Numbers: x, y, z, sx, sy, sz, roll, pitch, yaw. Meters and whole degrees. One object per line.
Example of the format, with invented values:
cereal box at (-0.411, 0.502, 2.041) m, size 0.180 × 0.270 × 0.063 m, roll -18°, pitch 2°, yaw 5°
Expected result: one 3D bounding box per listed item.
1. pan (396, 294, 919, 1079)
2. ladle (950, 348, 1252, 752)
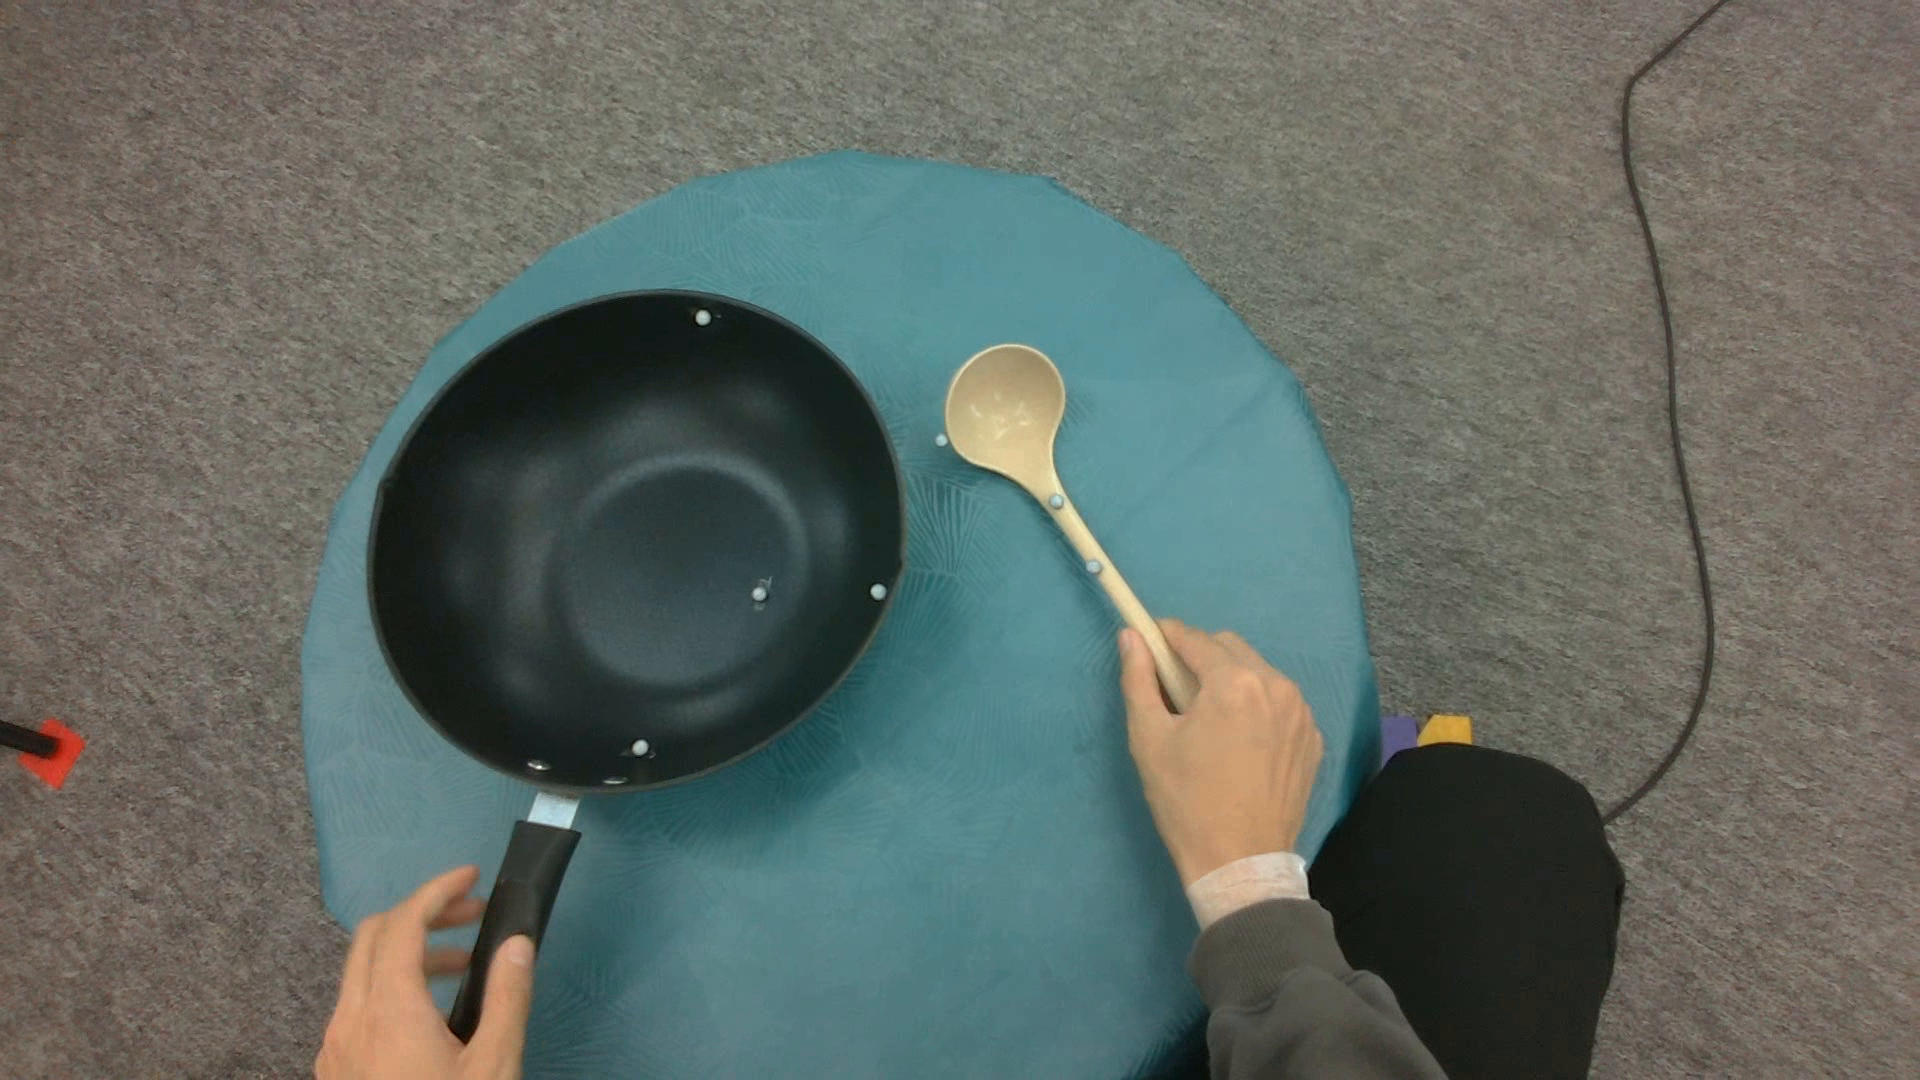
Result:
pan at (-0.178, 0.091, 0.735) m, size 0.288 × 0.086 × 0.464 m, roll 10°, pitch 72°, yaw 9°
ladle at (0.079, -0.001, 0.738) m, size 0.072 × 0.072 × 0.255 m, roll -29°, pitch 62°, yaw -12°
